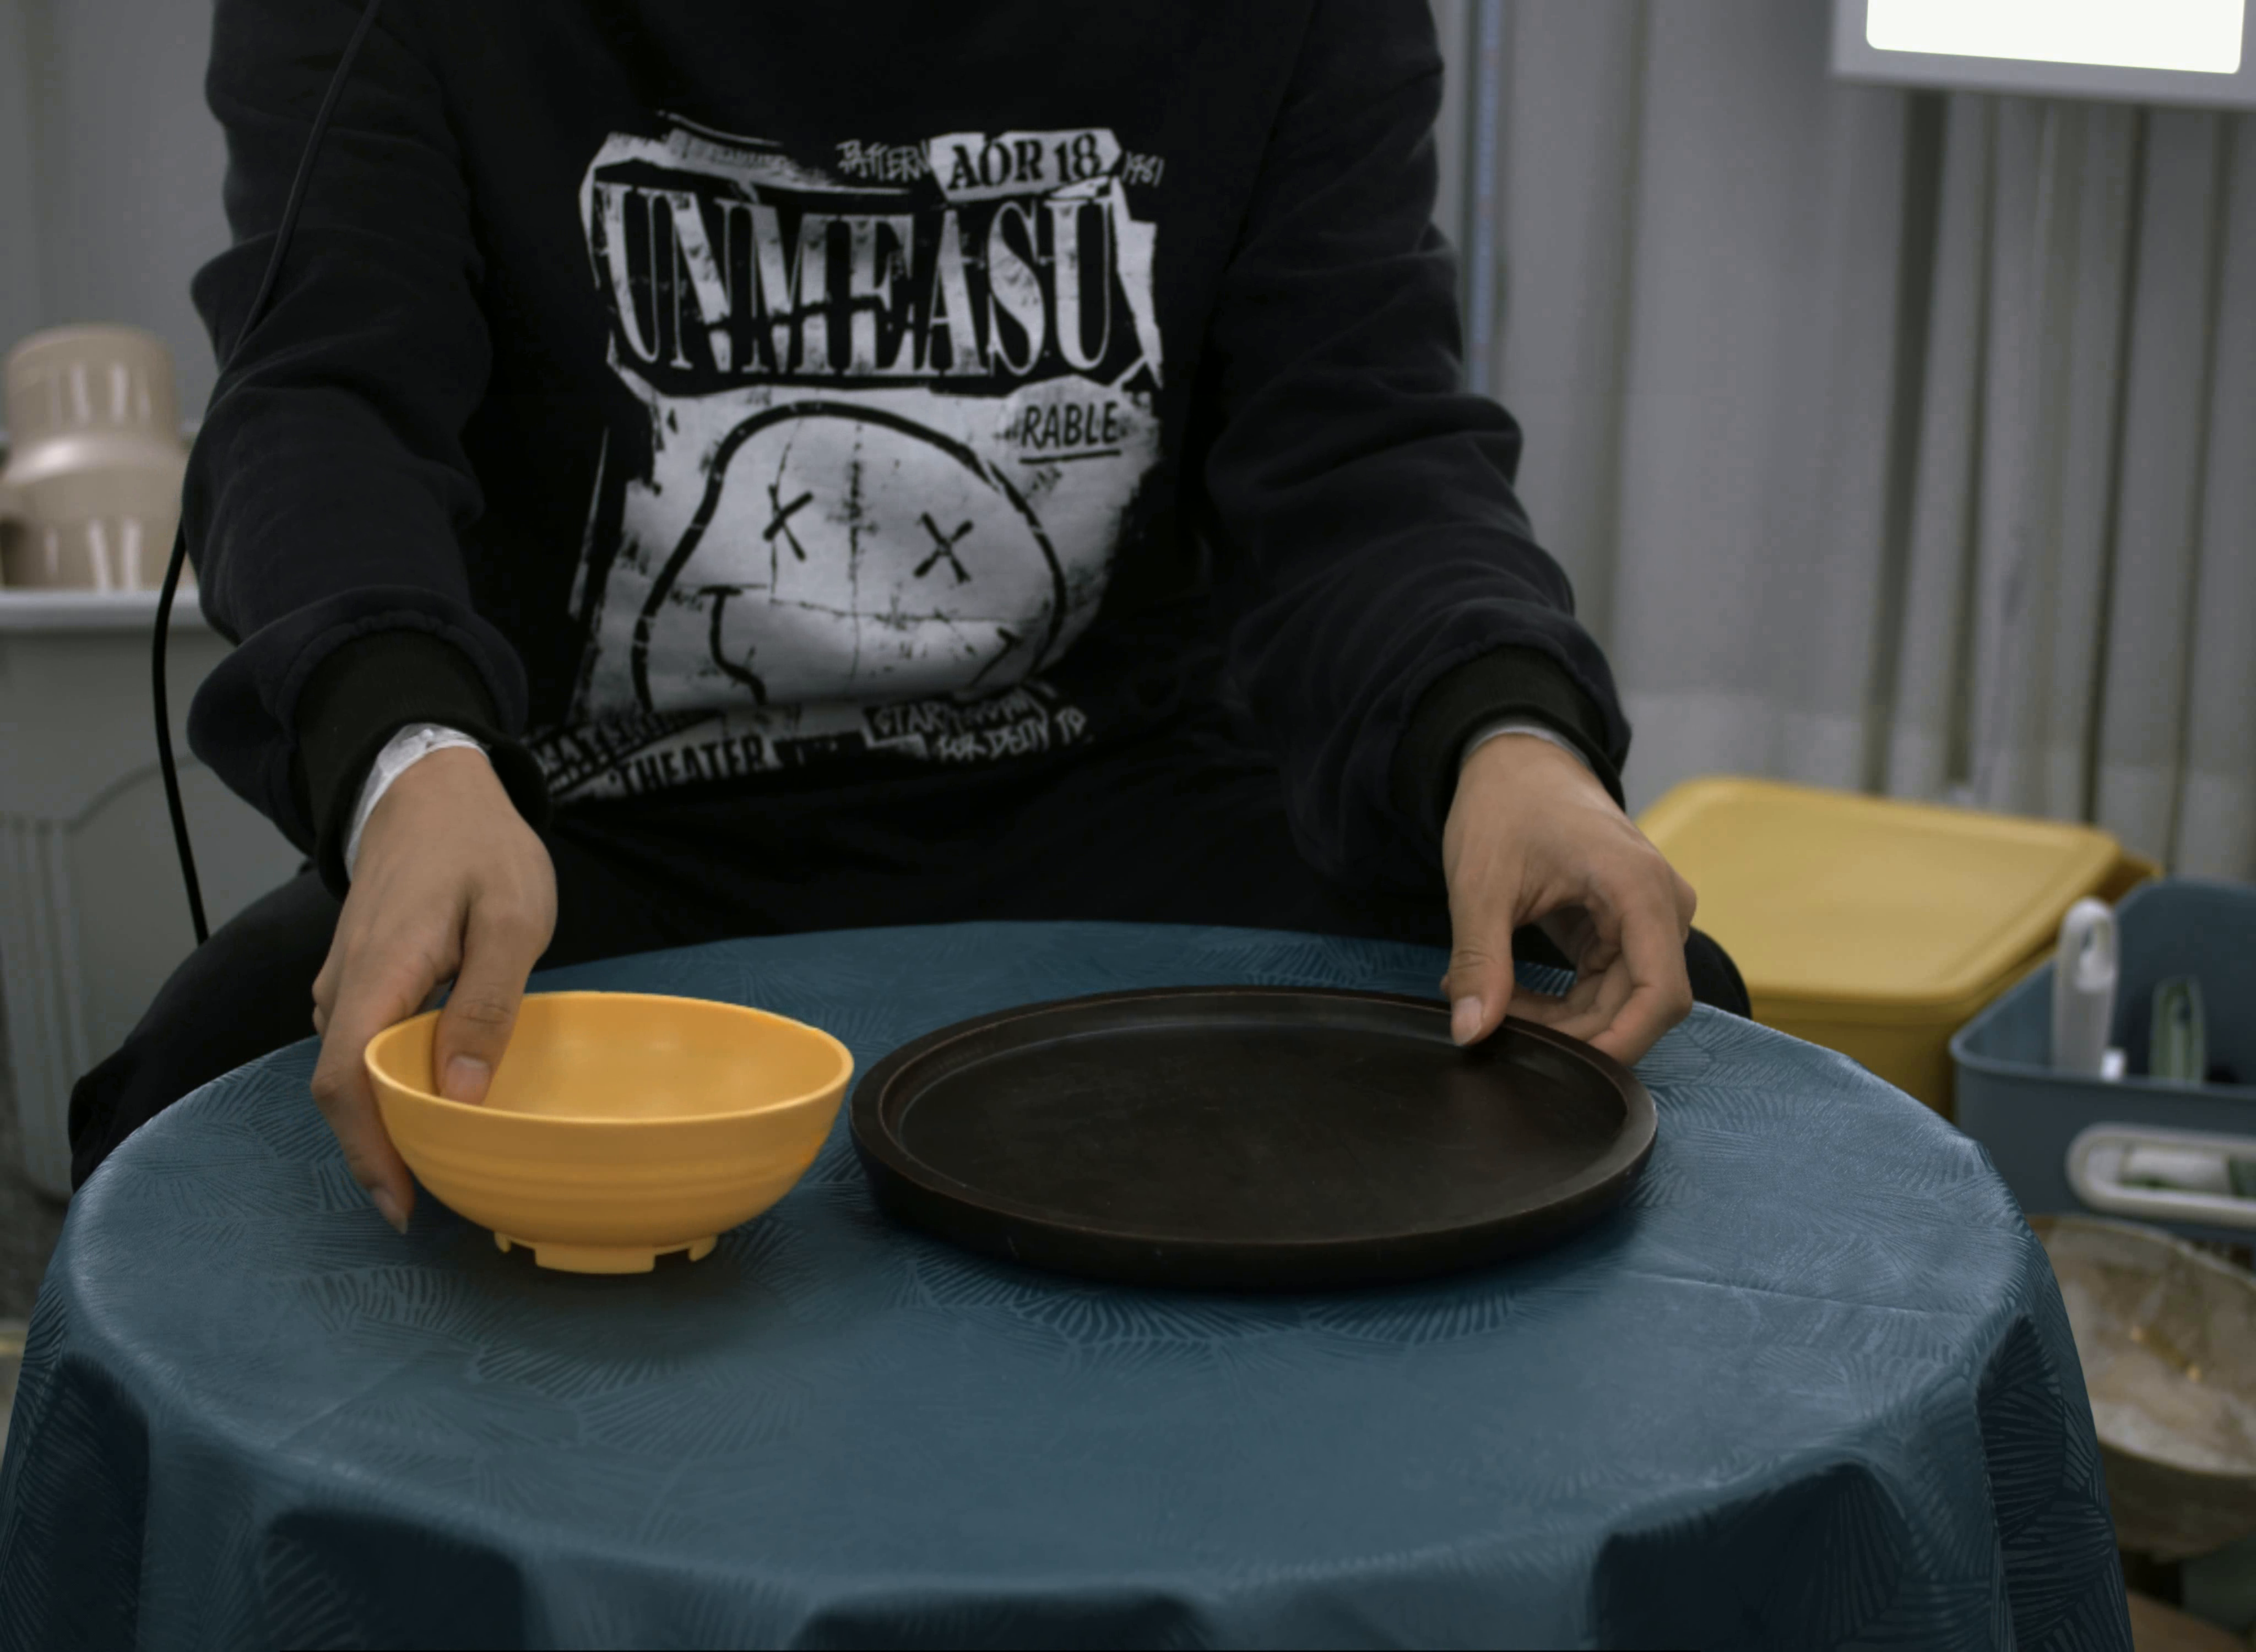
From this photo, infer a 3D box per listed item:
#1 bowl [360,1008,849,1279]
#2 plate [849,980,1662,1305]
[{"bbox_3d":[-0.156,0.097,1.564,0.145,0.060,0.145,3,10,0],"label":"bowl"},{"bbox_3d":[0.039,0.096,1.645,0.254,0.029,0.253,-1,16,1],"label":"plate"}]
